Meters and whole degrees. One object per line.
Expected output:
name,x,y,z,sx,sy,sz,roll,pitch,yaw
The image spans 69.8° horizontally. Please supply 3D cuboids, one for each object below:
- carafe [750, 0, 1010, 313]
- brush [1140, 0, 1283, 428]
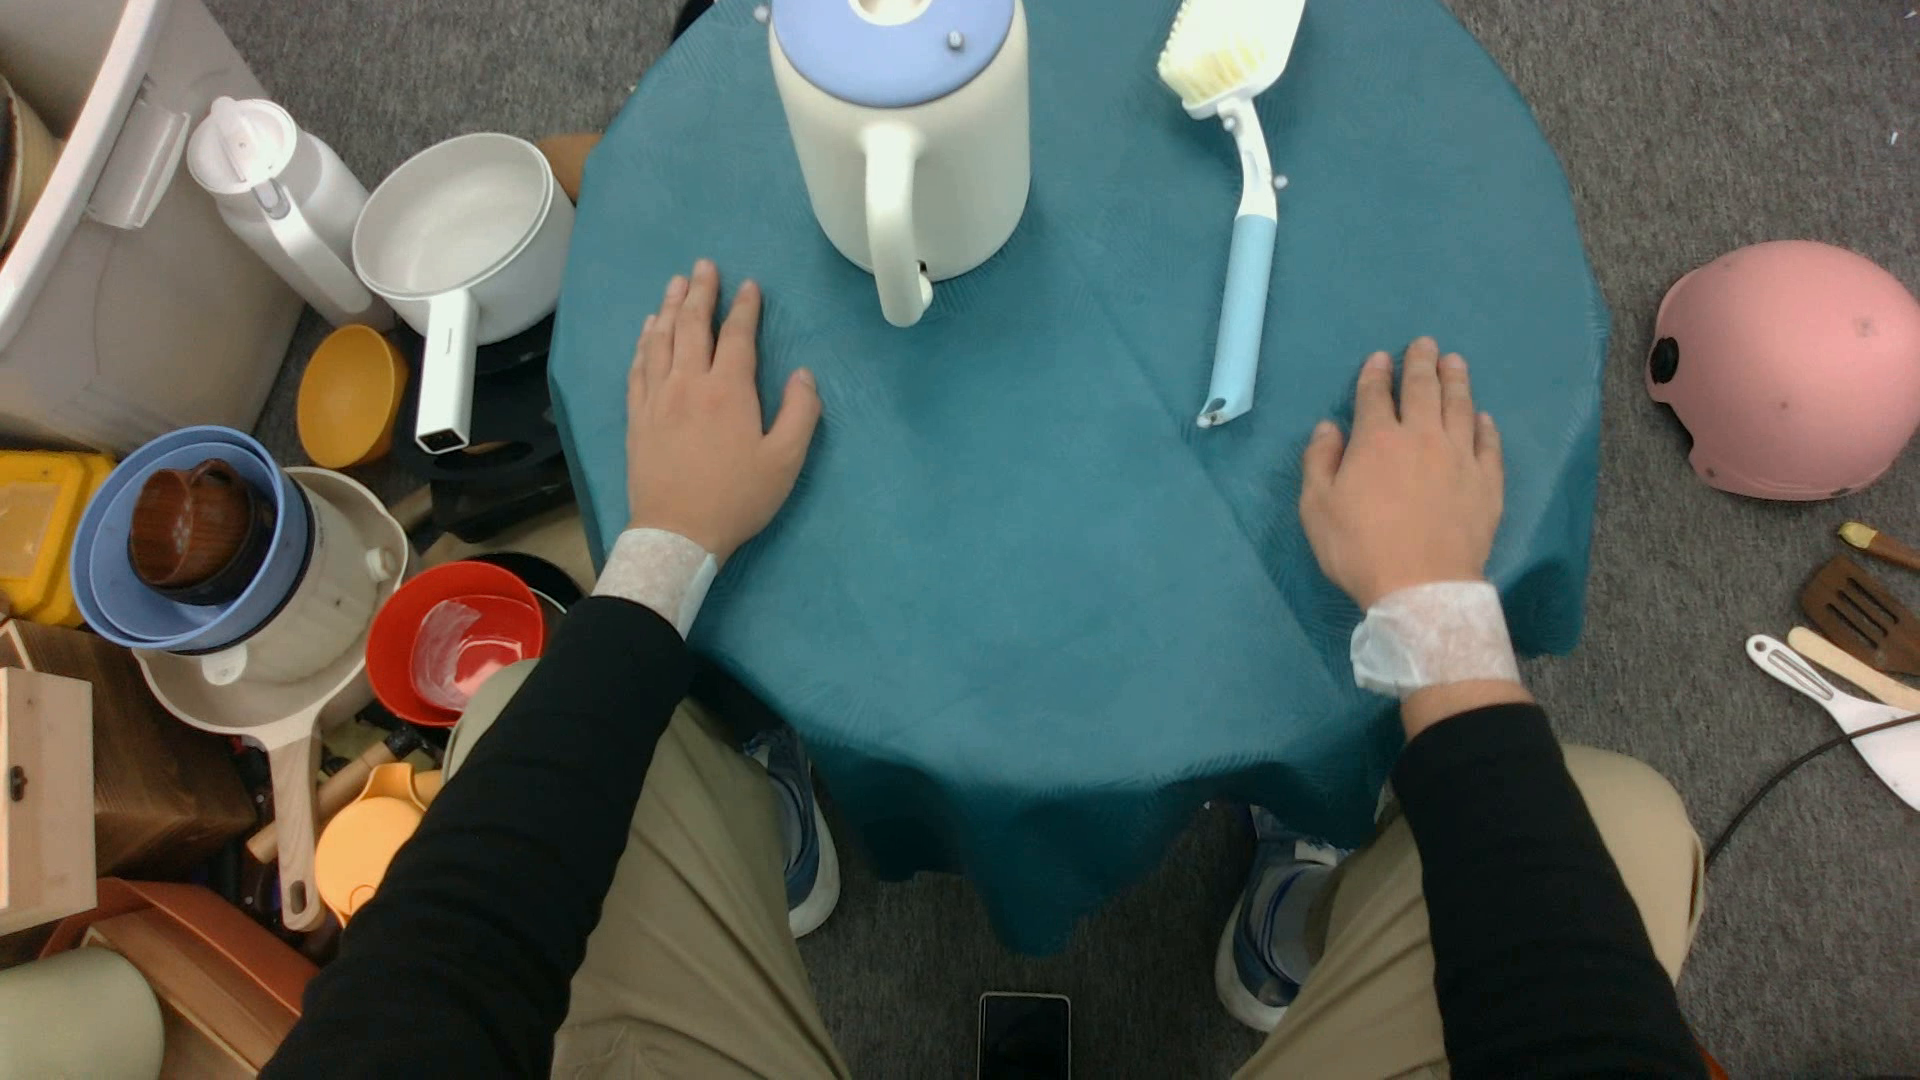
carafe,-0.039,-0.220,0.740,0.132,0.182,0.191,-1,73,3
brush,0.138,-0.222,0.782,0.084,0.083,0.326,11,71,-1
